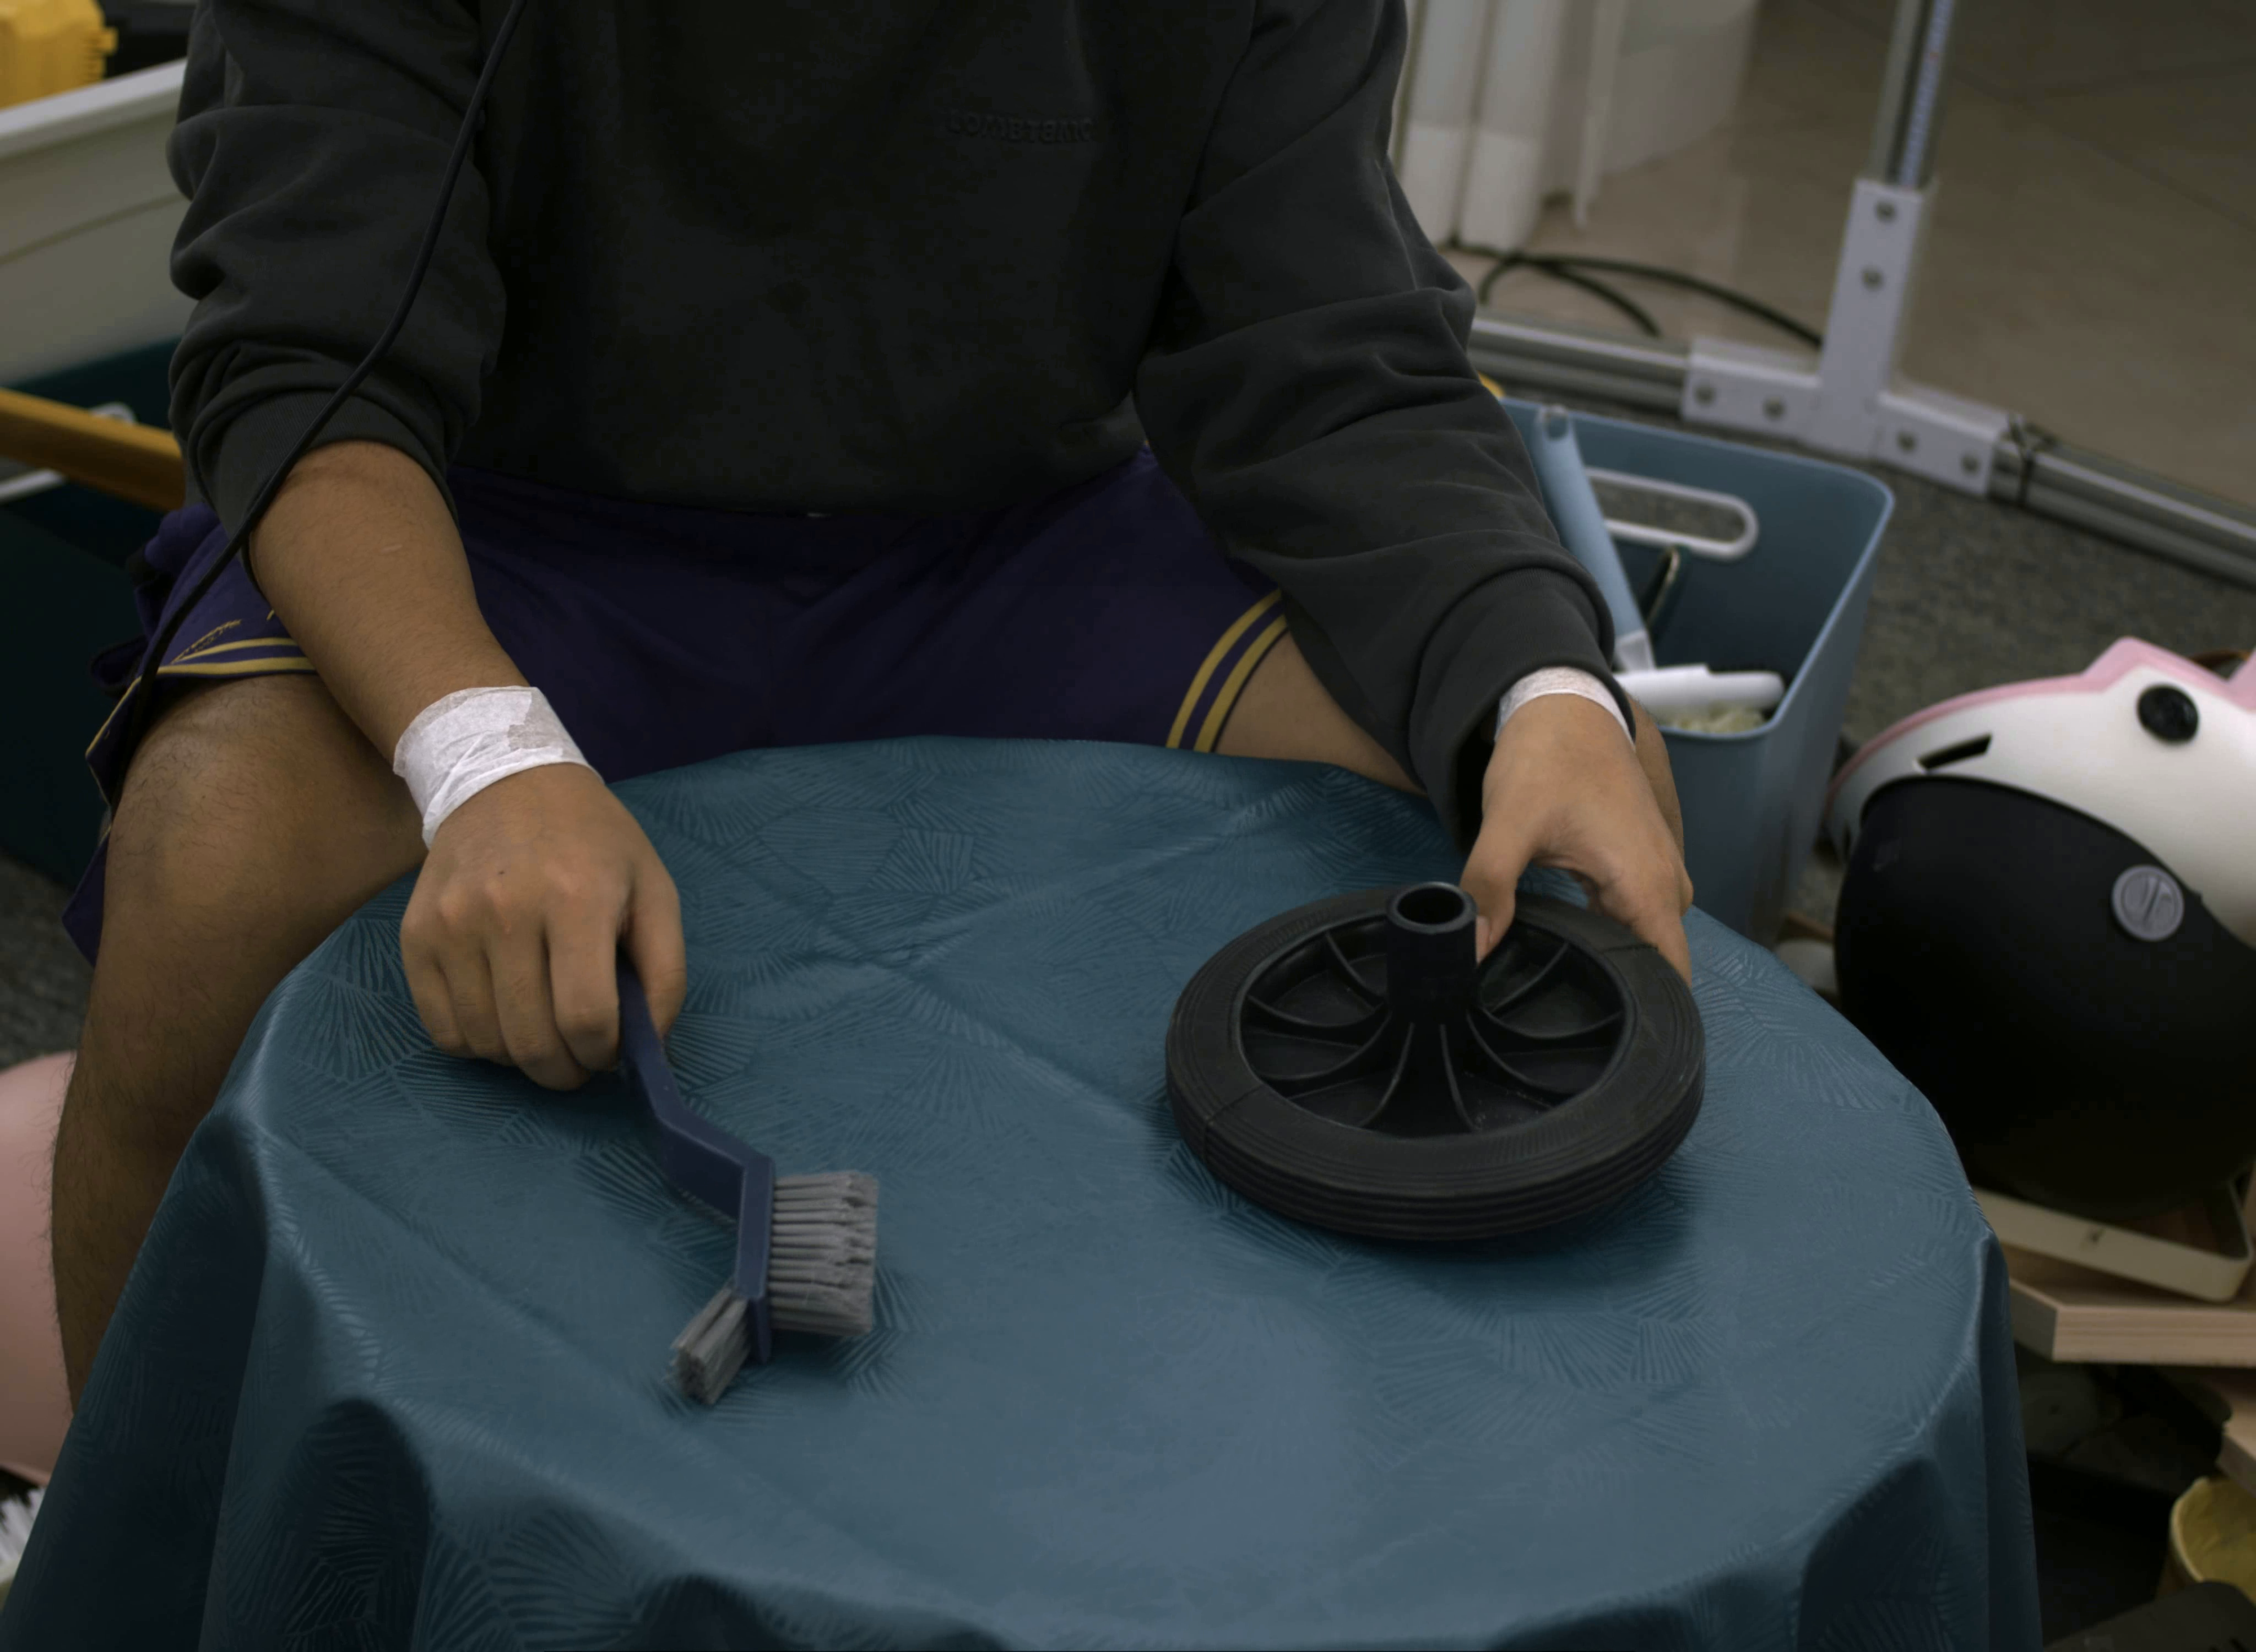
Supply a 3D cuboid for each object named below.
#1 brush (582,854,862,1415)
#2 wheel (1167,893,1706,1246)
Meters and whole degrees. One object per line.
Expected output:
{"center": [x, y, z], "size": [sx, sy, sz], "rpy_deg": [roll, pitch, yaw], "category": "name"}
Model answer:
{"center": [-0.161, 0.097, 1.774], "size": [0.095, 0.033, 0.276], "rpy_deg": [-18, 35, -18], "category": "brush"}
{"center": [0.106, 0.064, 1.839], "size": [0.187, 0.079, 0.191], "rpy_deg": [0, 32, 6], "category": "wheel"}
